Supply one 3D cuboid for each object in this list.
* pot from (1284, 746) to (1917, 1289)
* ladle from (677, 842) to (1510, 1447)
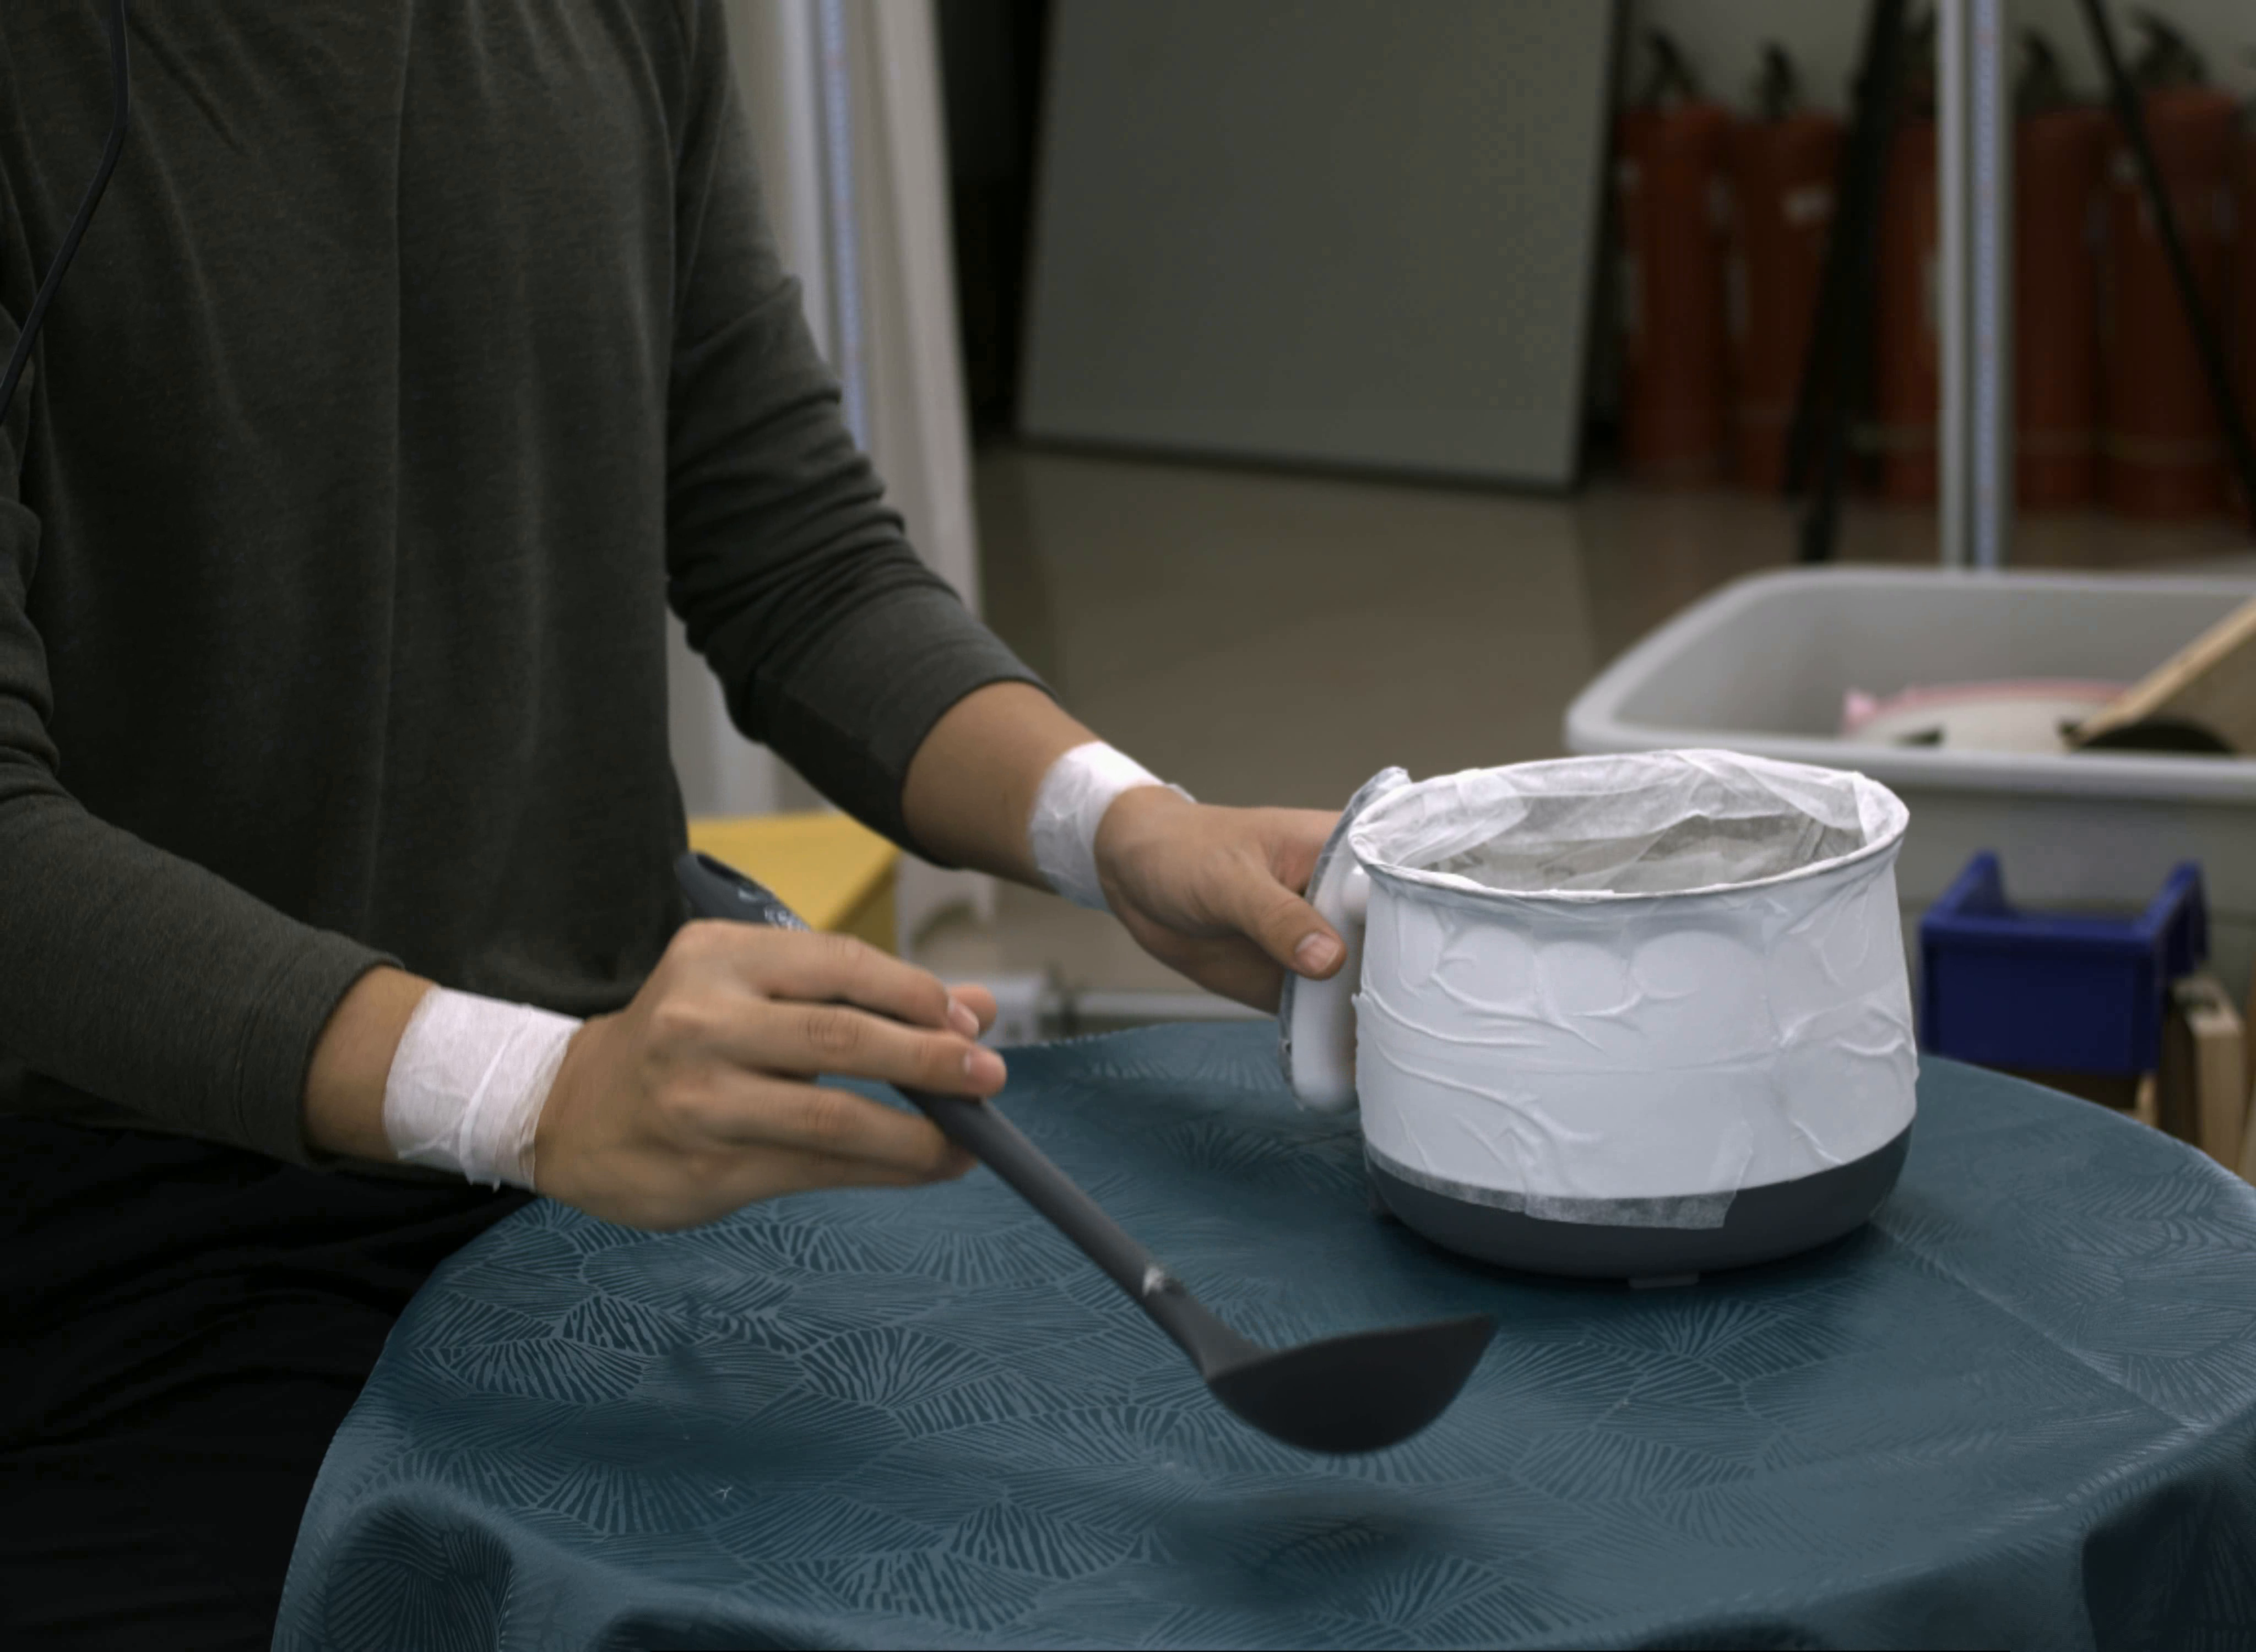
[{"bbox_3d":[0.140,0.055,1.714,0.236,0.138,0.175,9,18,44],"label":"pot"},{"bbox_3d":[-0.021,0.072,1.521,0.317,0.064,0.084,40,23,33],"label":"ladle"}]
